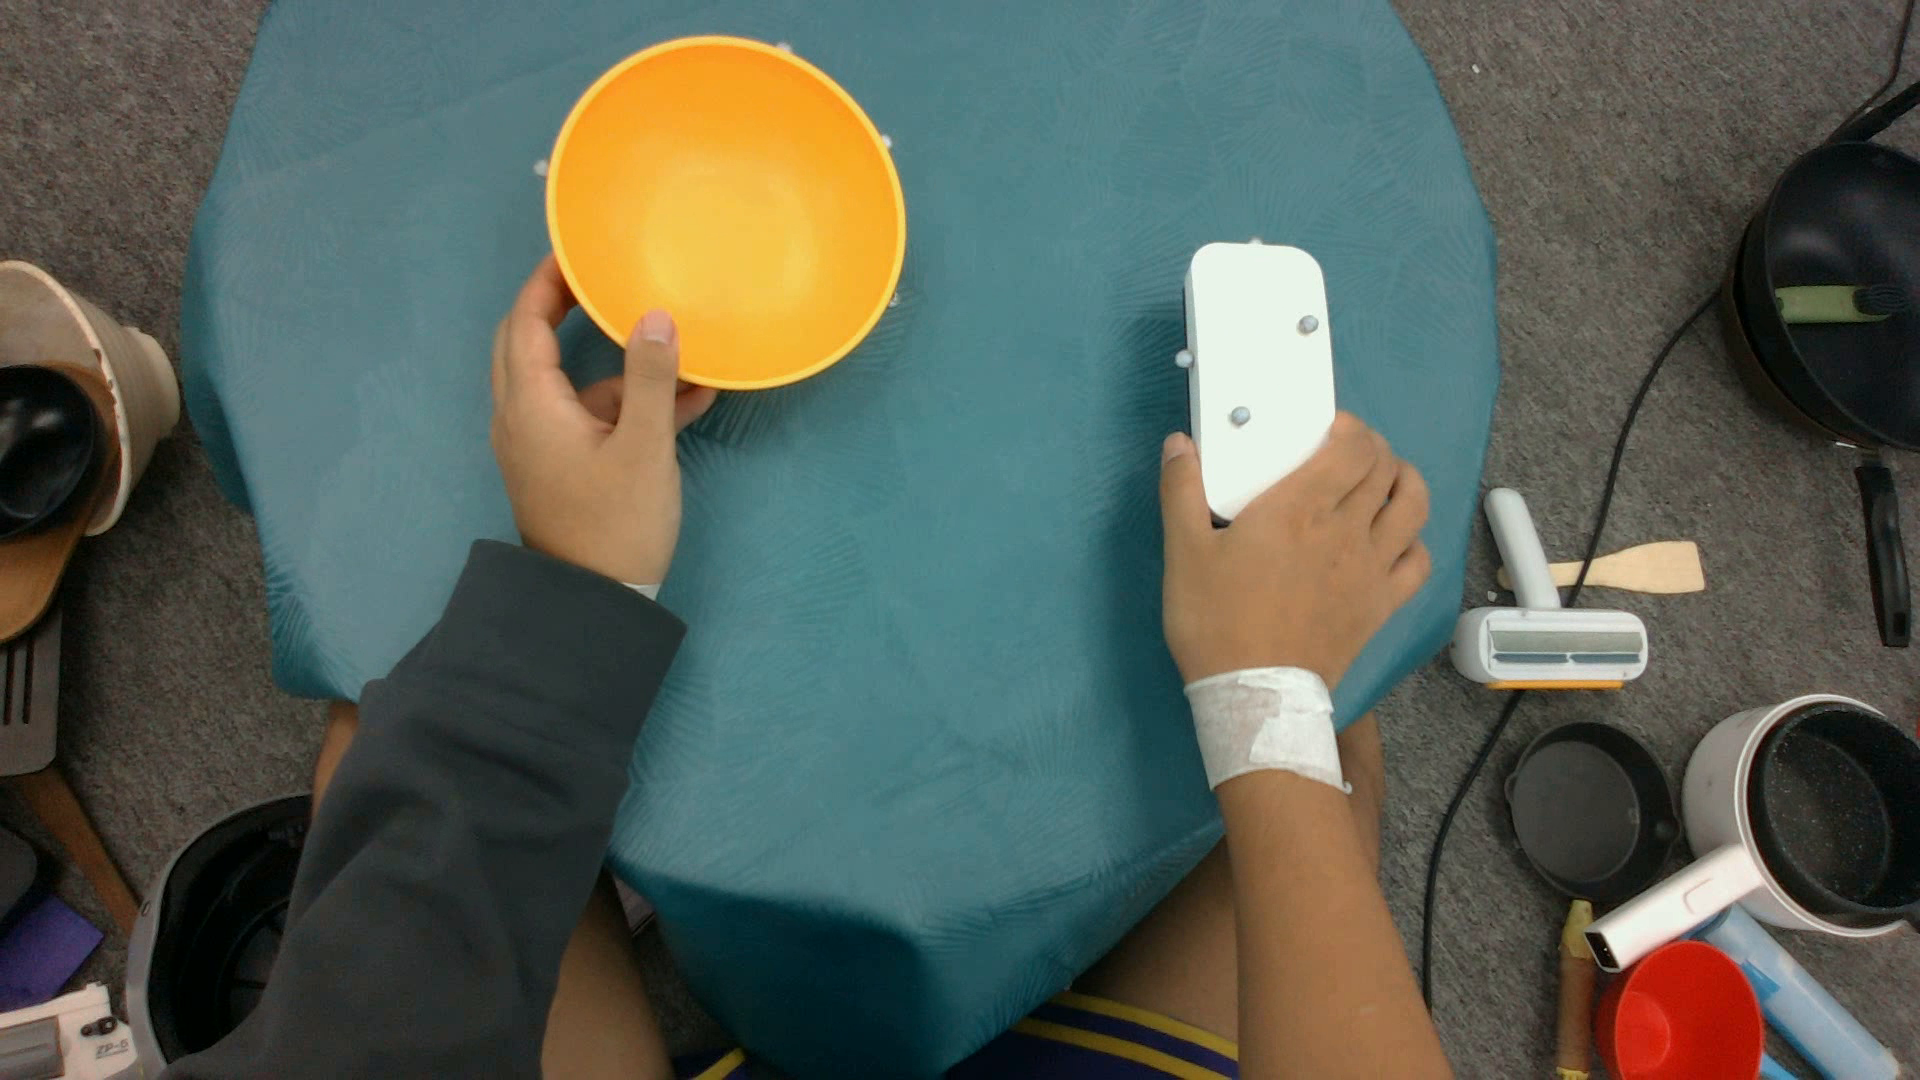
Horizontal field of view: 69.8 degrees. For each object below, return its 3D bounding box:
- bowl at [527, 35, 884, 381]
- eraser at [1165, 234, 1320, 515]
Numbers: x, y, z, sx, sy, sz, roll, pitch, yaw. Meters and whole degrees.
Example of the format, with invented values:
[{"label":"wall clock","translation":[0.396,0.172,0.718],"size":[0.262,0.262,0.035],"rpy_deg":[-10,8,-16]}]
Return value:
[{"label":"bowl","translation":[-0.110,-0.136,0.593],"size":[0.145,0.060,0.145],"rpy_deg":[0,88,-16]},{"label":"eraser","translation":[0.124,-0.075,0.618],"size":[0.063,0.034,0.131],"rpy_deg":[1,74,-7]}]
